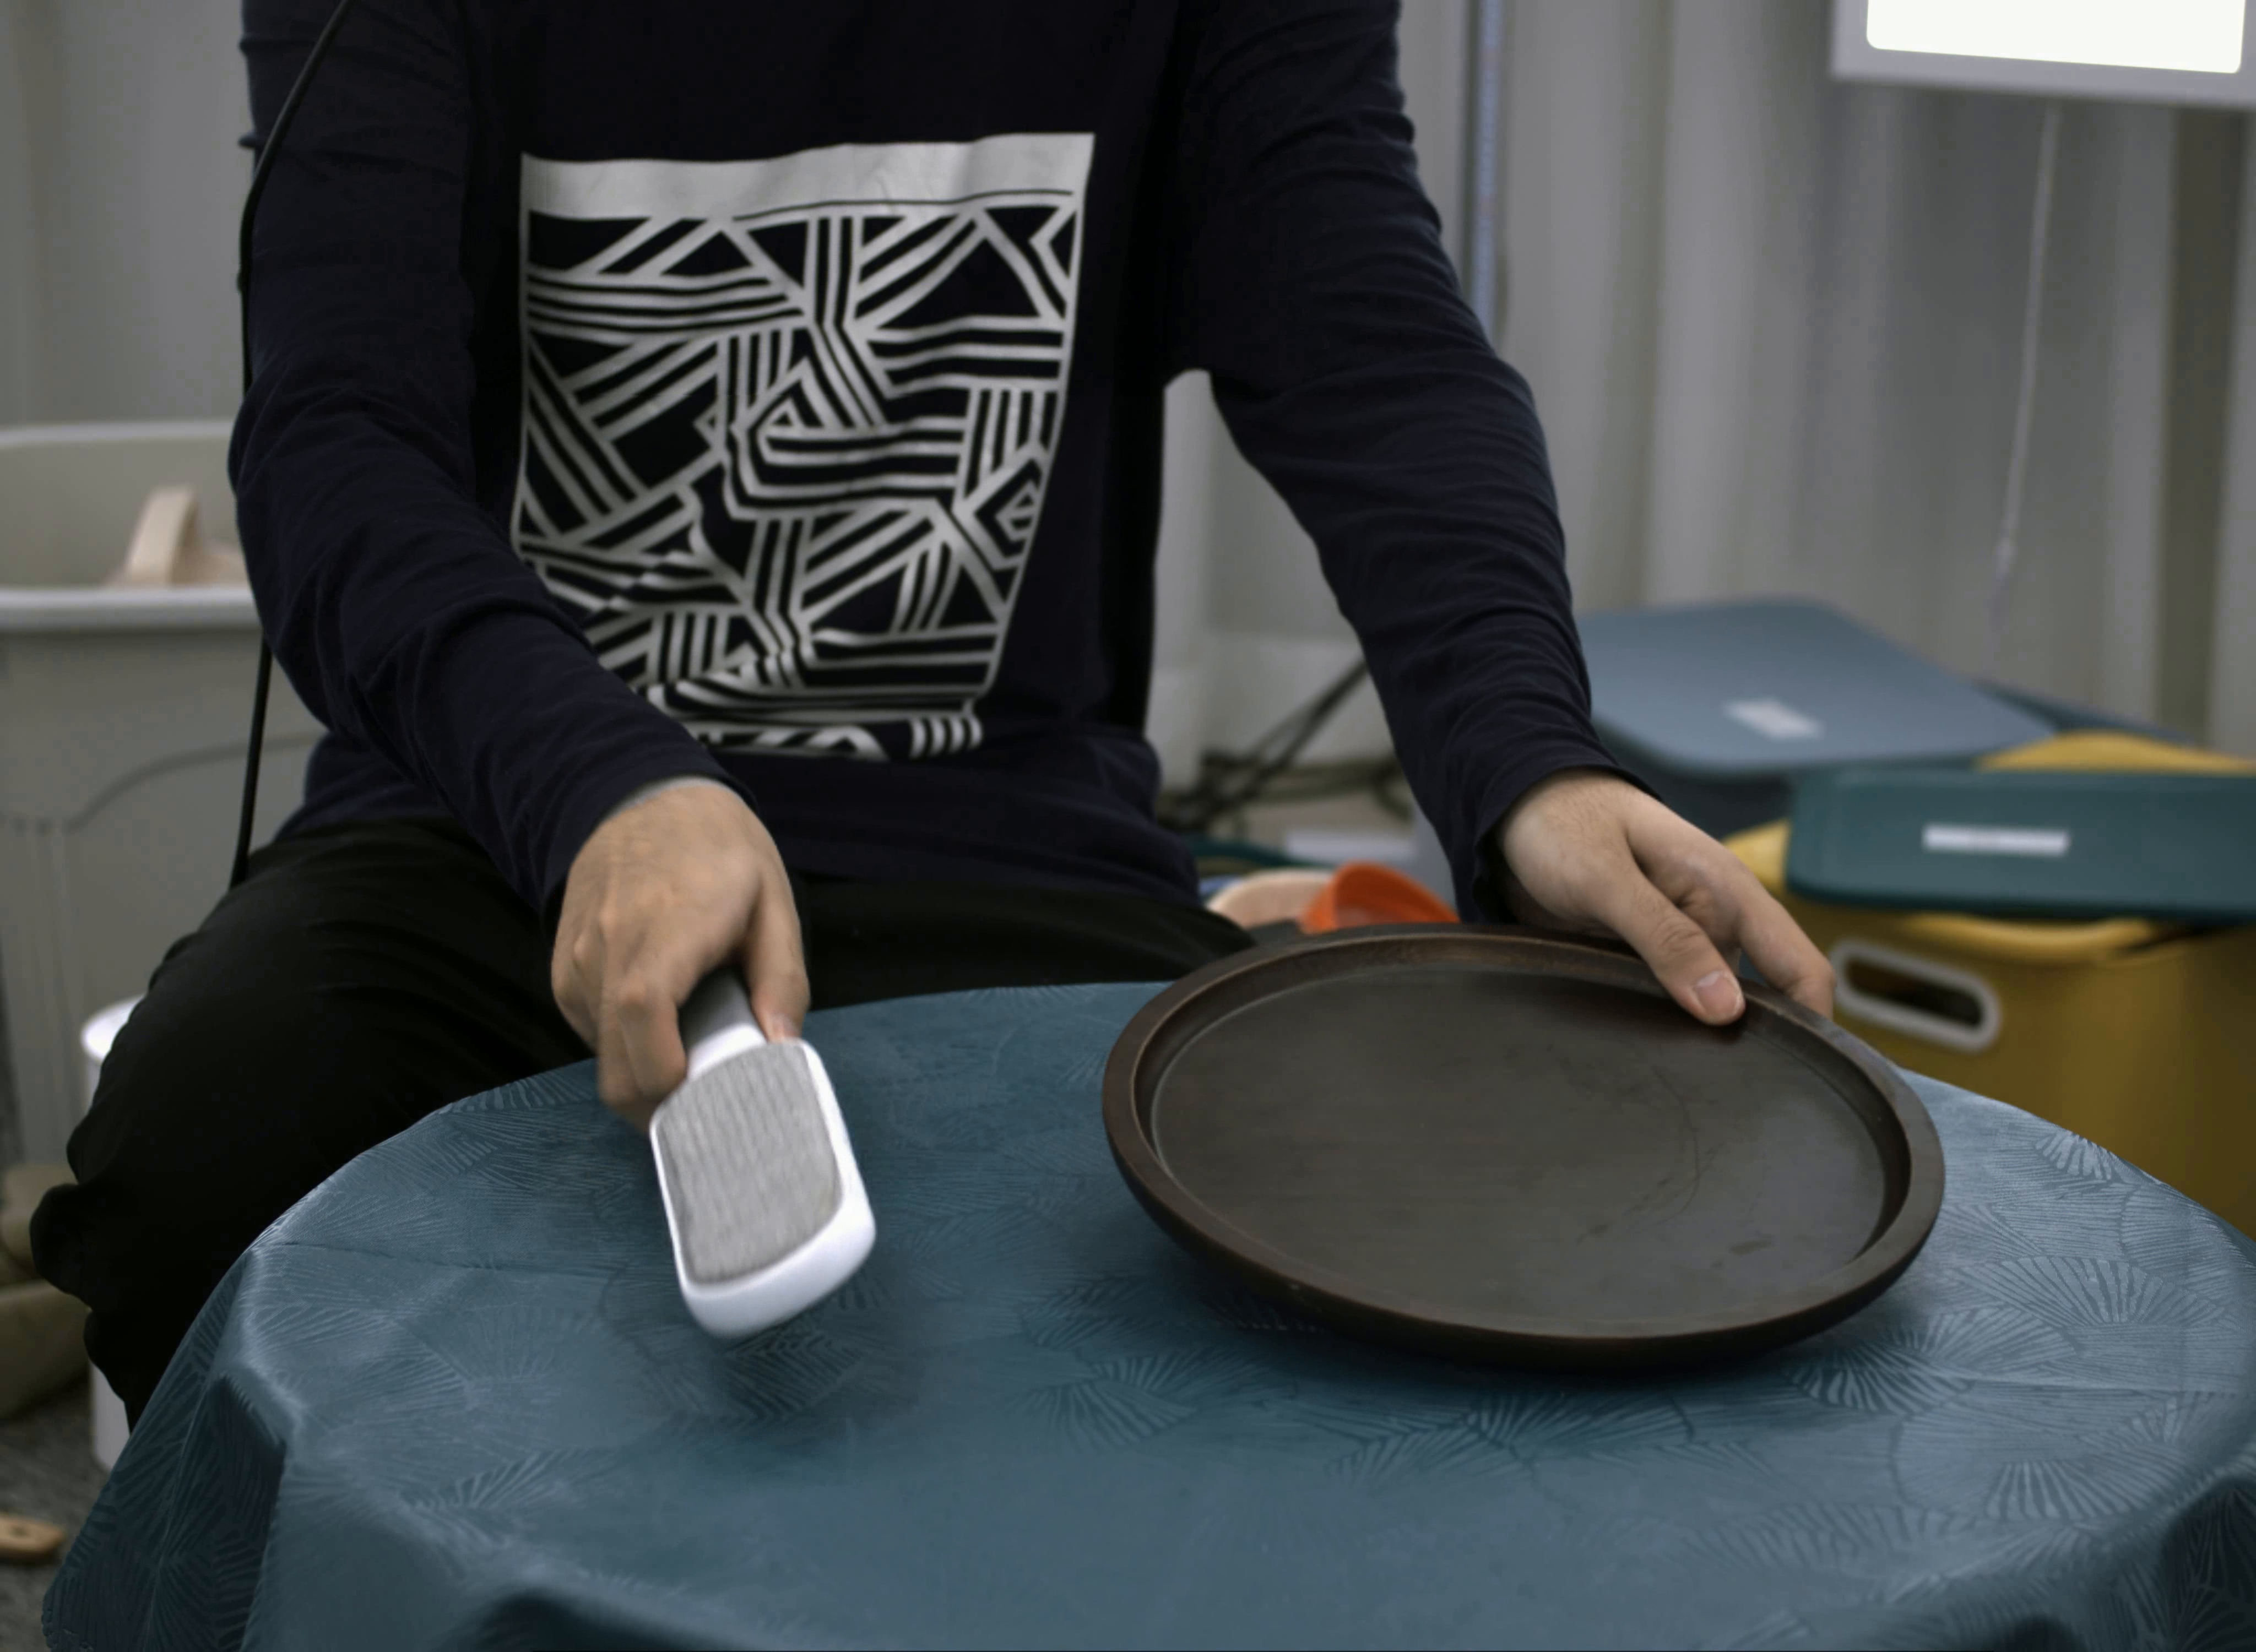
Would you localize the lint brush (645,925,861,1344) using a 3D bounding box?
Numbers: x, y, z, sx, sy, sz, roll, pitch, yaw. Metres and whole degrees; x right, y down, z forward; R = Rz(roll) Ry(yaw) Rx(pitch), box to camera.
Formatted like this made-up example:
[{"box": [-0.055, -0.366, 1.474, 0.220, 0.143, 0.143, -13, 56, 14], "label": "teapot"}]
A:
[{"box": [-0.116, 0.083, 1.560, 0.060, 0.021, 0.306, -34, 19, 2], "label": "lint brush"}]

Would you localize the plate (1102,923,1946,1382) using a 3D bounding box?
[{"box": [0.117, 0.094, 1.570, 0.254, 0.029, 0.253, 6, 26, -2], "label": "plate"}]
